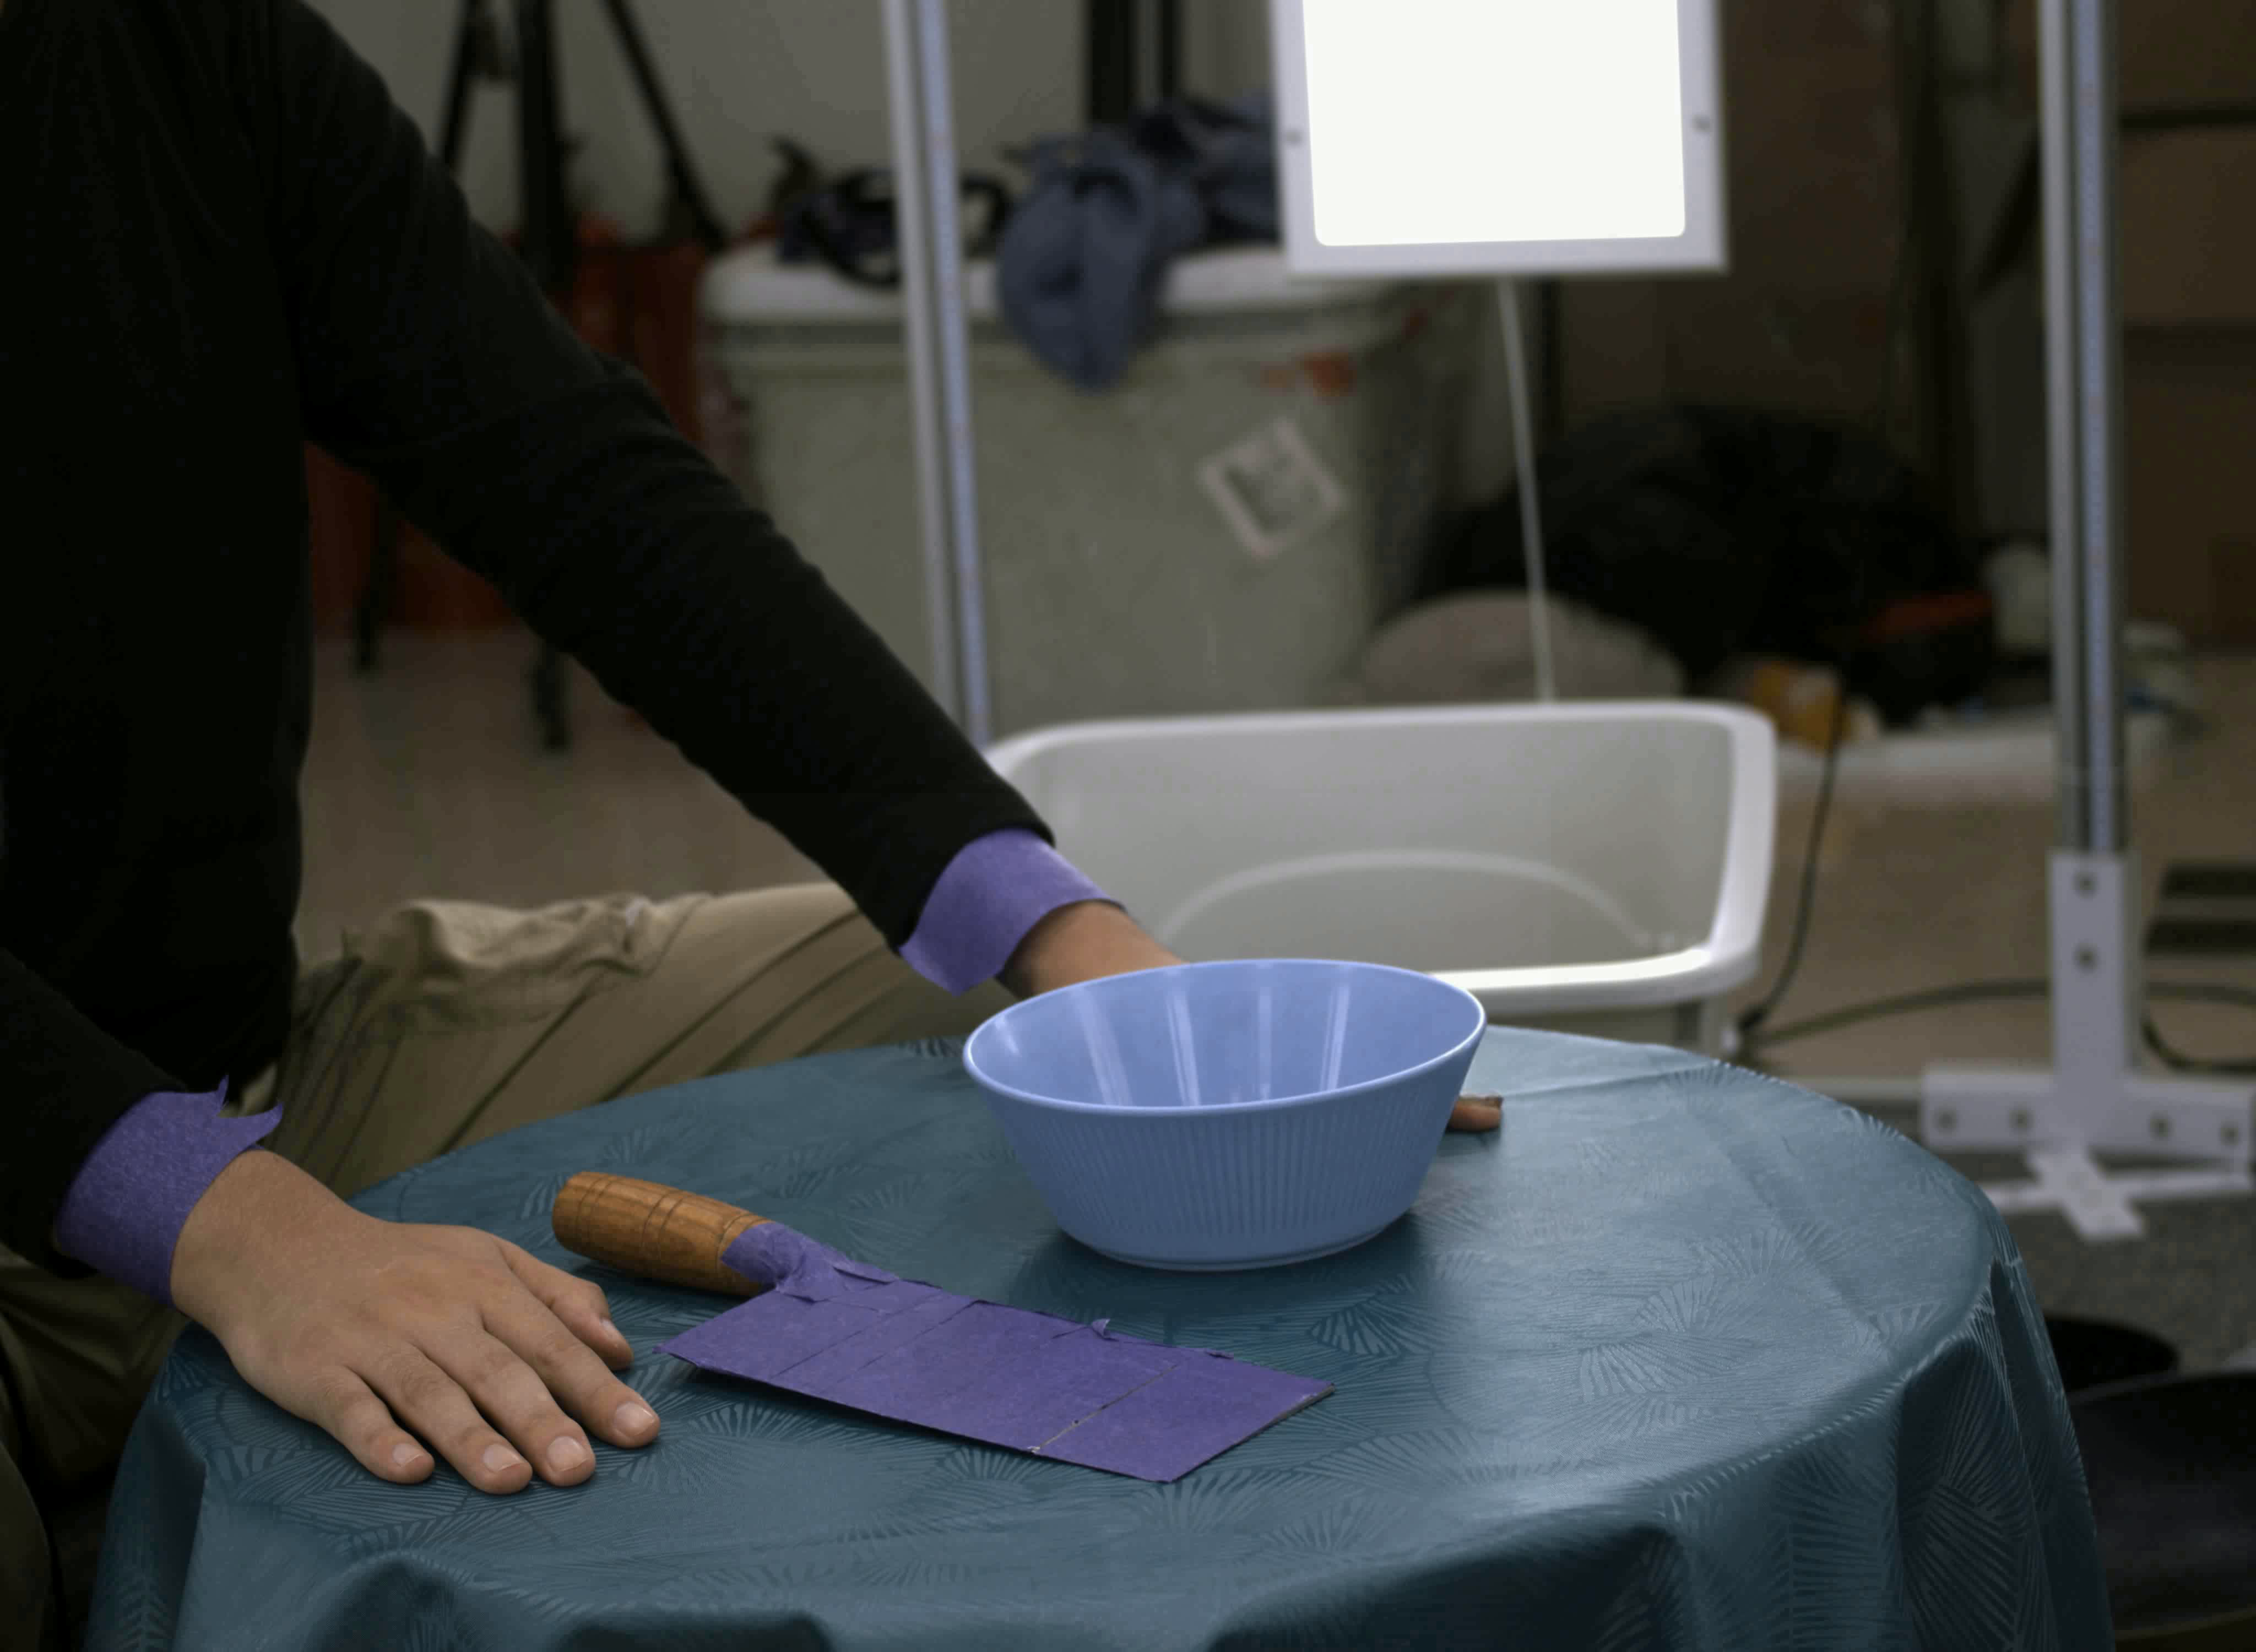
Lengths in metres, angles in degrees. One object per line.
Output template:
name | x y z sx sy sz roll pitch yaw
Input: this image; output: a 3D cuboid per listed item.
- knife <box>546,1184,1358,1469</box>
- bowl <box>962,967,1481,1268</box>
knife | -0.082 0.157 1.749 0.322 0.032 0.101 7 18 38
bowl | 0.034 0.100 1.846 0.175 0.070 0.176 -5 12 0
